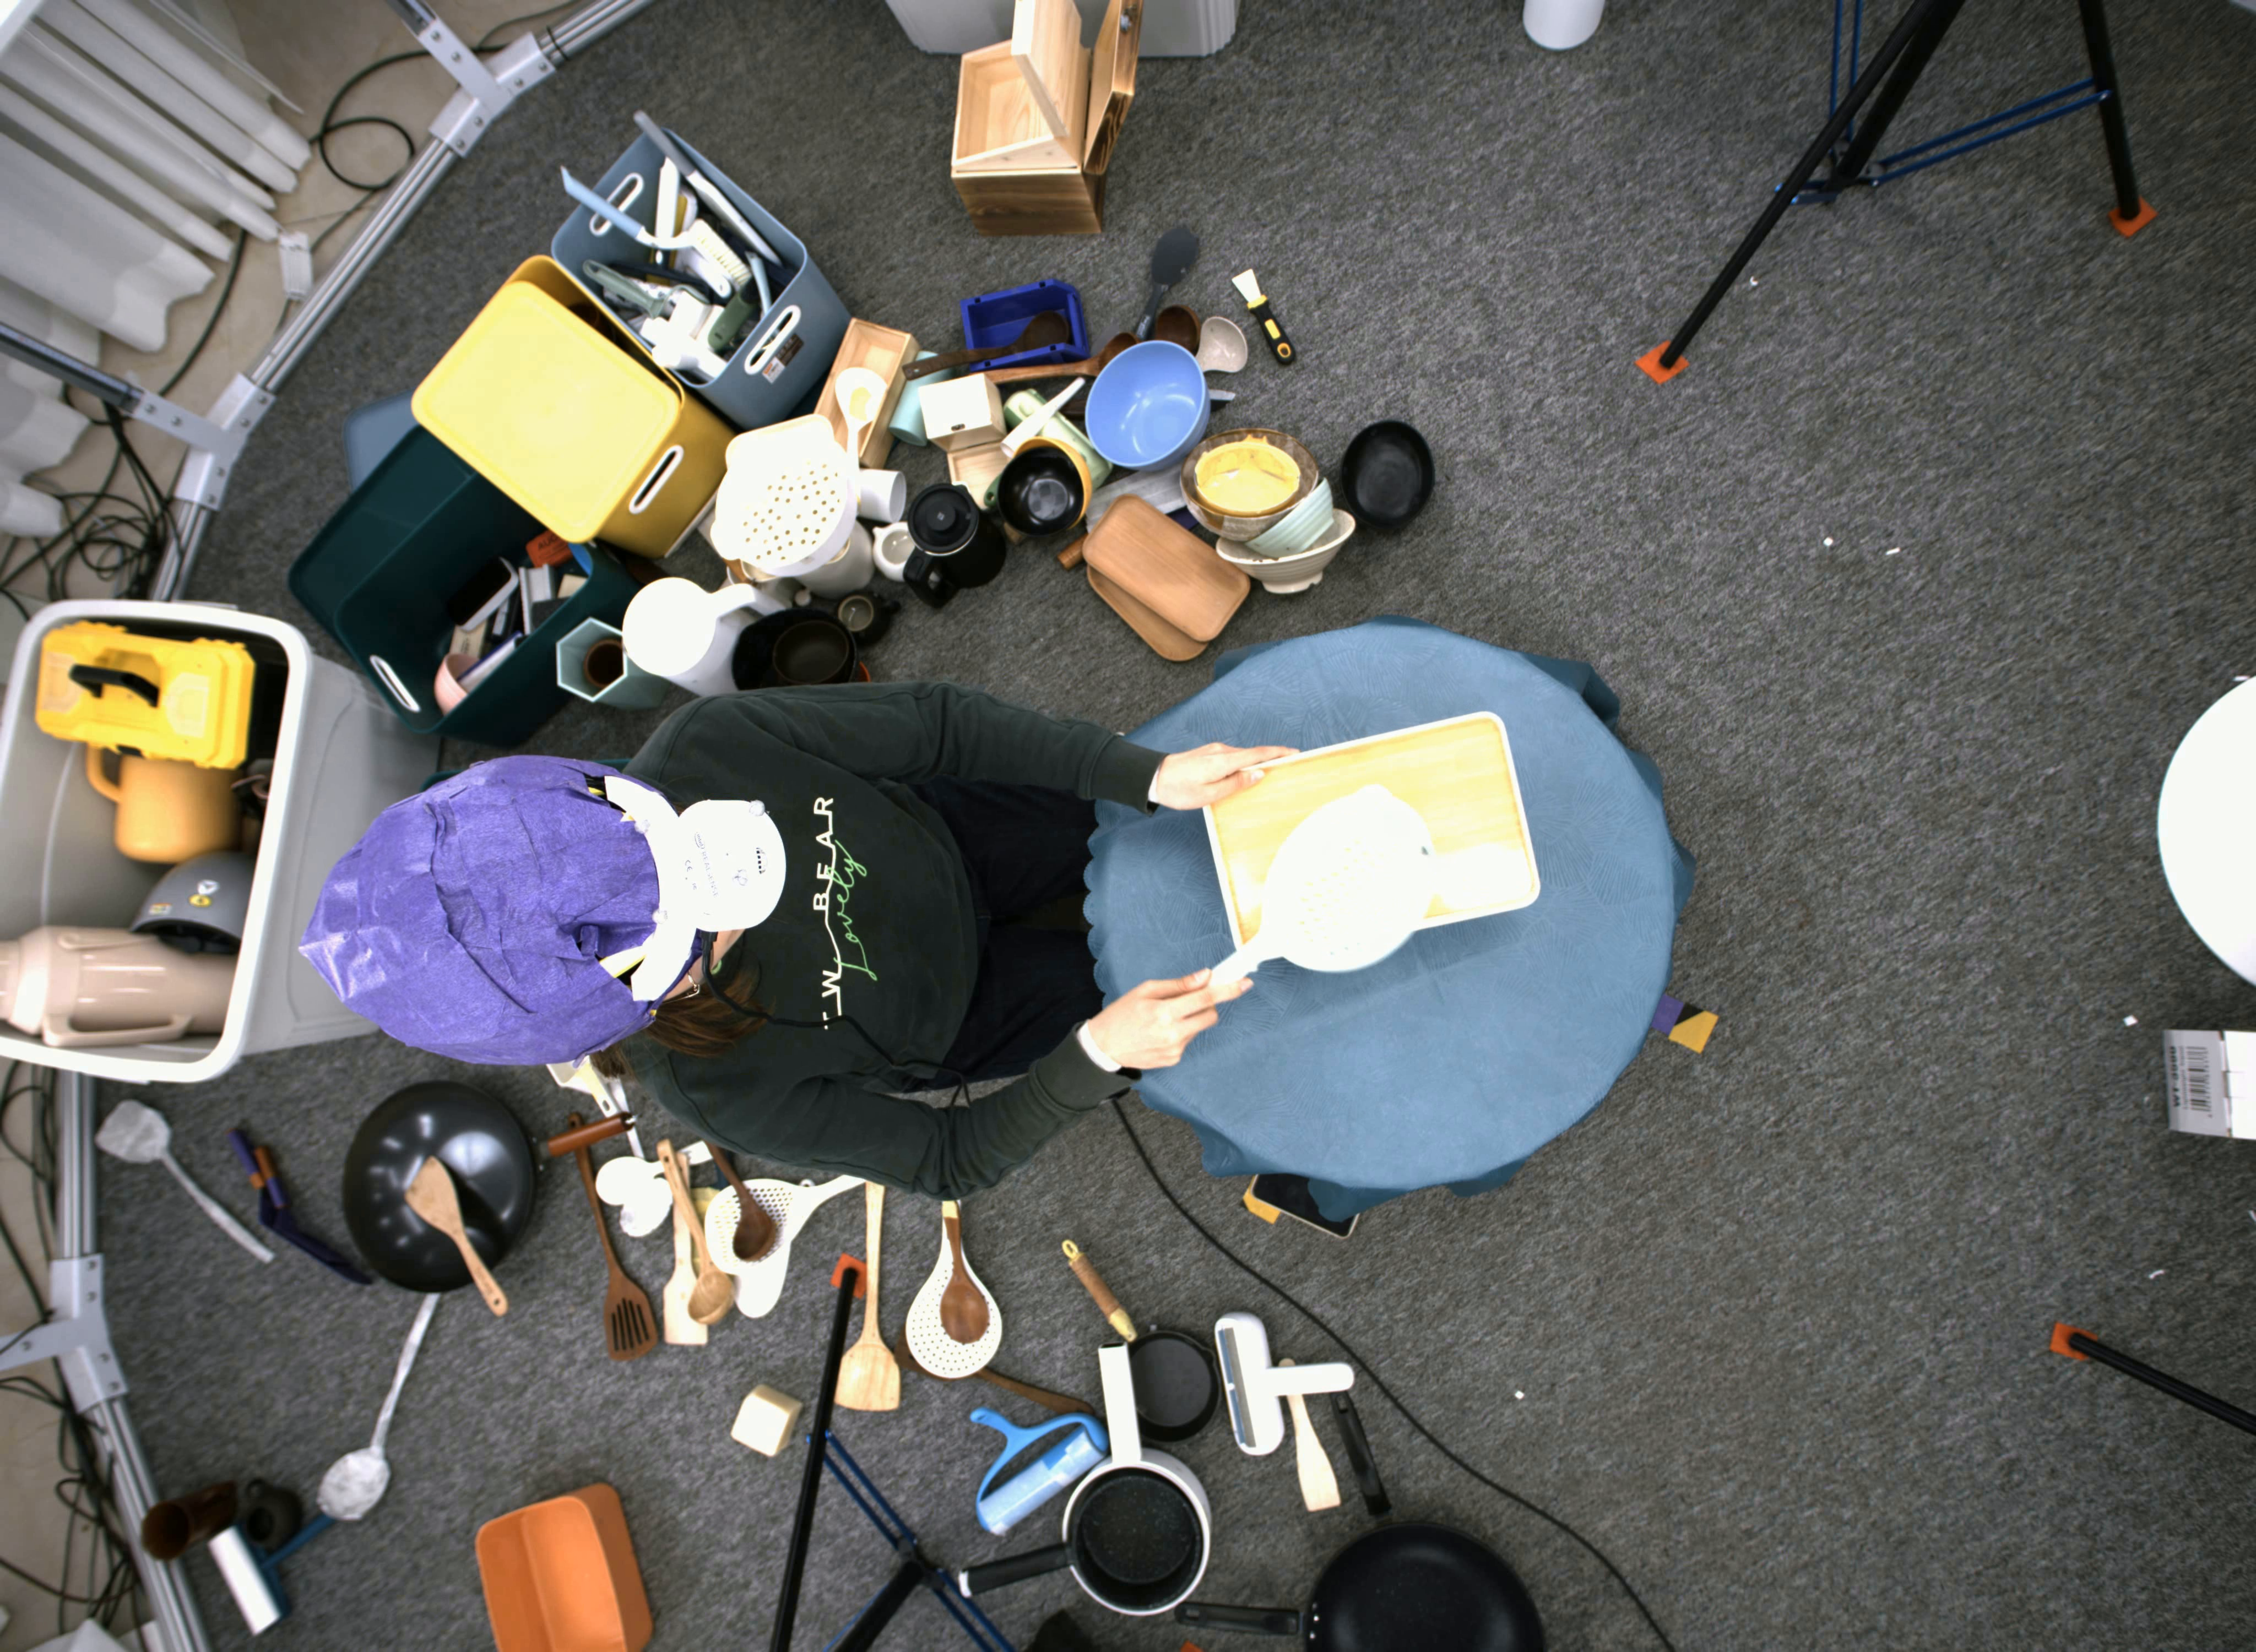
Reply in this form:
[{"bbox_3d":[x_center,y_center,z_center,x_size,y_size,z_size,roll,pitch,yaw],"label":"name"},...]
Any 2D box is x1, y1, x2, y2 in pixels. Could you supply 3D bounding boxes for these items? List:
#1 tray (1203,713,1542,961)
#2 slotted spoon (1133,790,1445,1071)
[{"bbox_3d":[0.236,0.011,1.348,0.302,0.027,0.192,-13,93,14],"label":"tray"},{"bbox_3d":[0.133,0.114,1.251,0.363,0.076,0.165,-34,42,15],"label":"slotted spoon"}]
